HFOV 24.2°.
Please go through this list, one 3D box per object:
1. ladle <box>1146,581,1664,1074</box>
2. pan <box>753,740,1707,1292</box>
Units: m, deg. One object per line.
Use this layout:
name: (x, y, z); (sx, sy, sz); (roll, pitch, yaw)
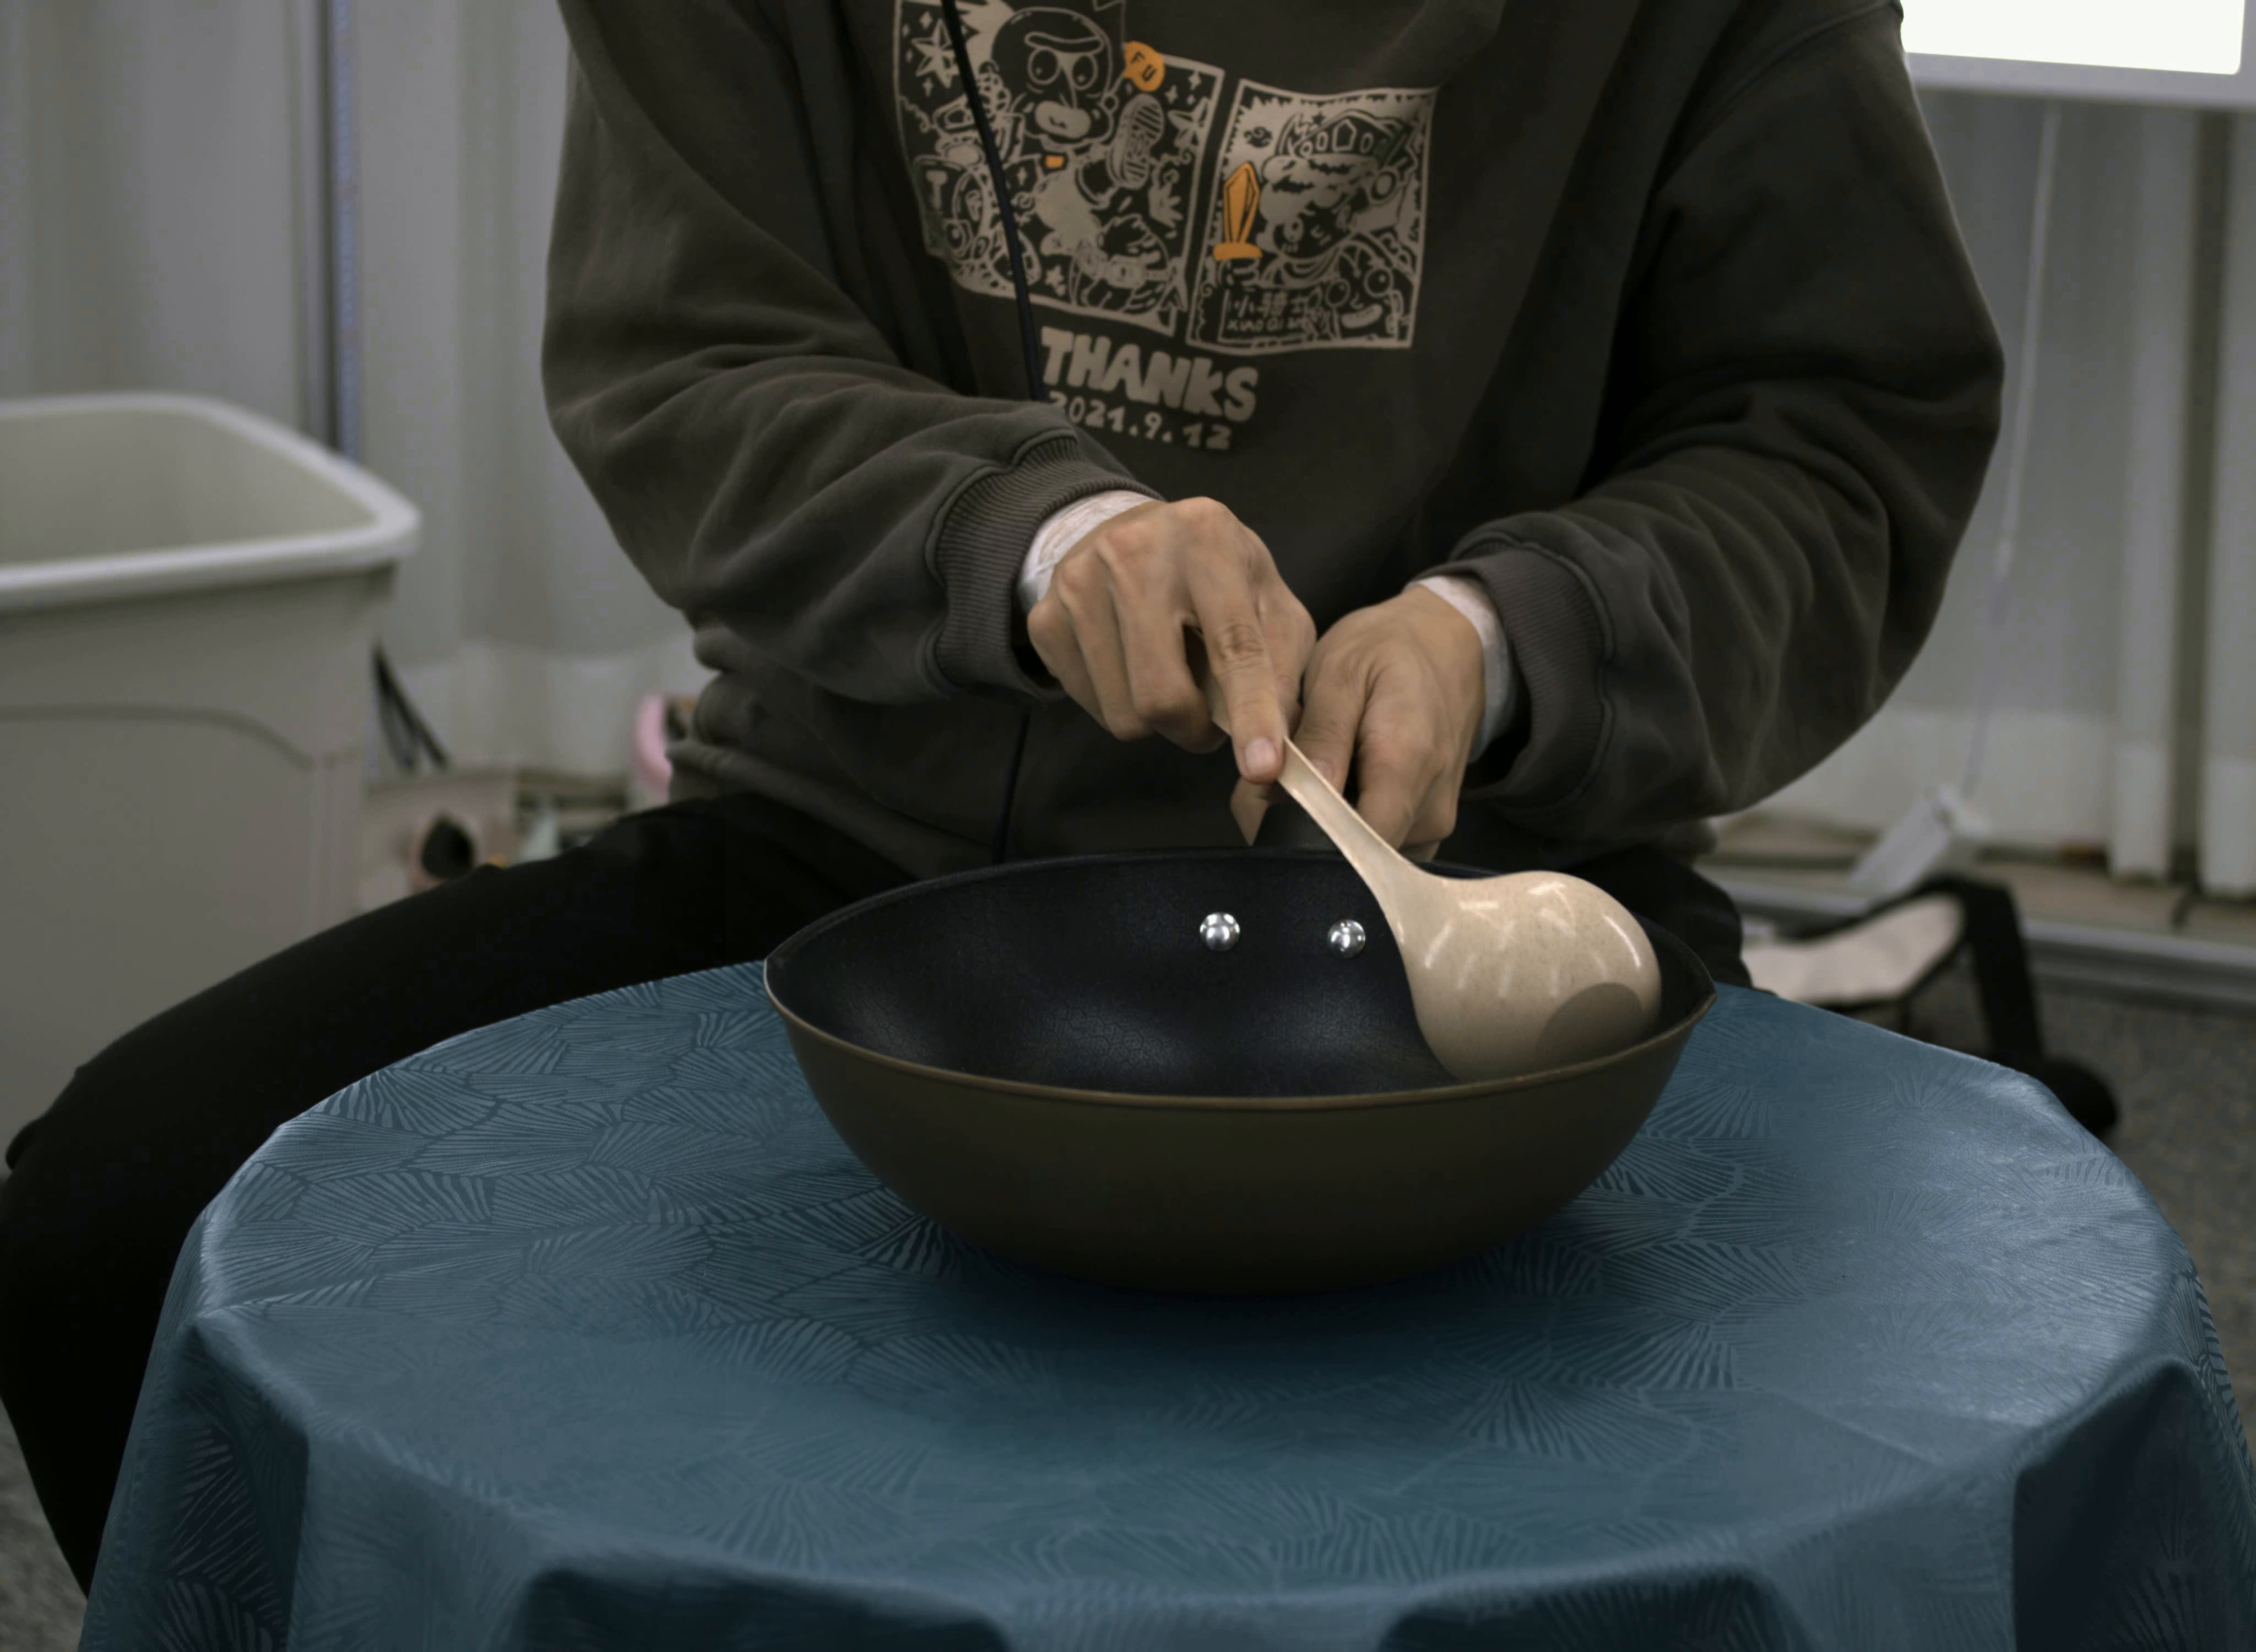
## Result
ladle: (0.084, -0.001, 1.657); (0.073, 0.072, 0.251); (19, 22, -36)
pan: (0.043, 0.057, 1.678); (0.286, 0.087, 0.462); (2, 14, 7)
